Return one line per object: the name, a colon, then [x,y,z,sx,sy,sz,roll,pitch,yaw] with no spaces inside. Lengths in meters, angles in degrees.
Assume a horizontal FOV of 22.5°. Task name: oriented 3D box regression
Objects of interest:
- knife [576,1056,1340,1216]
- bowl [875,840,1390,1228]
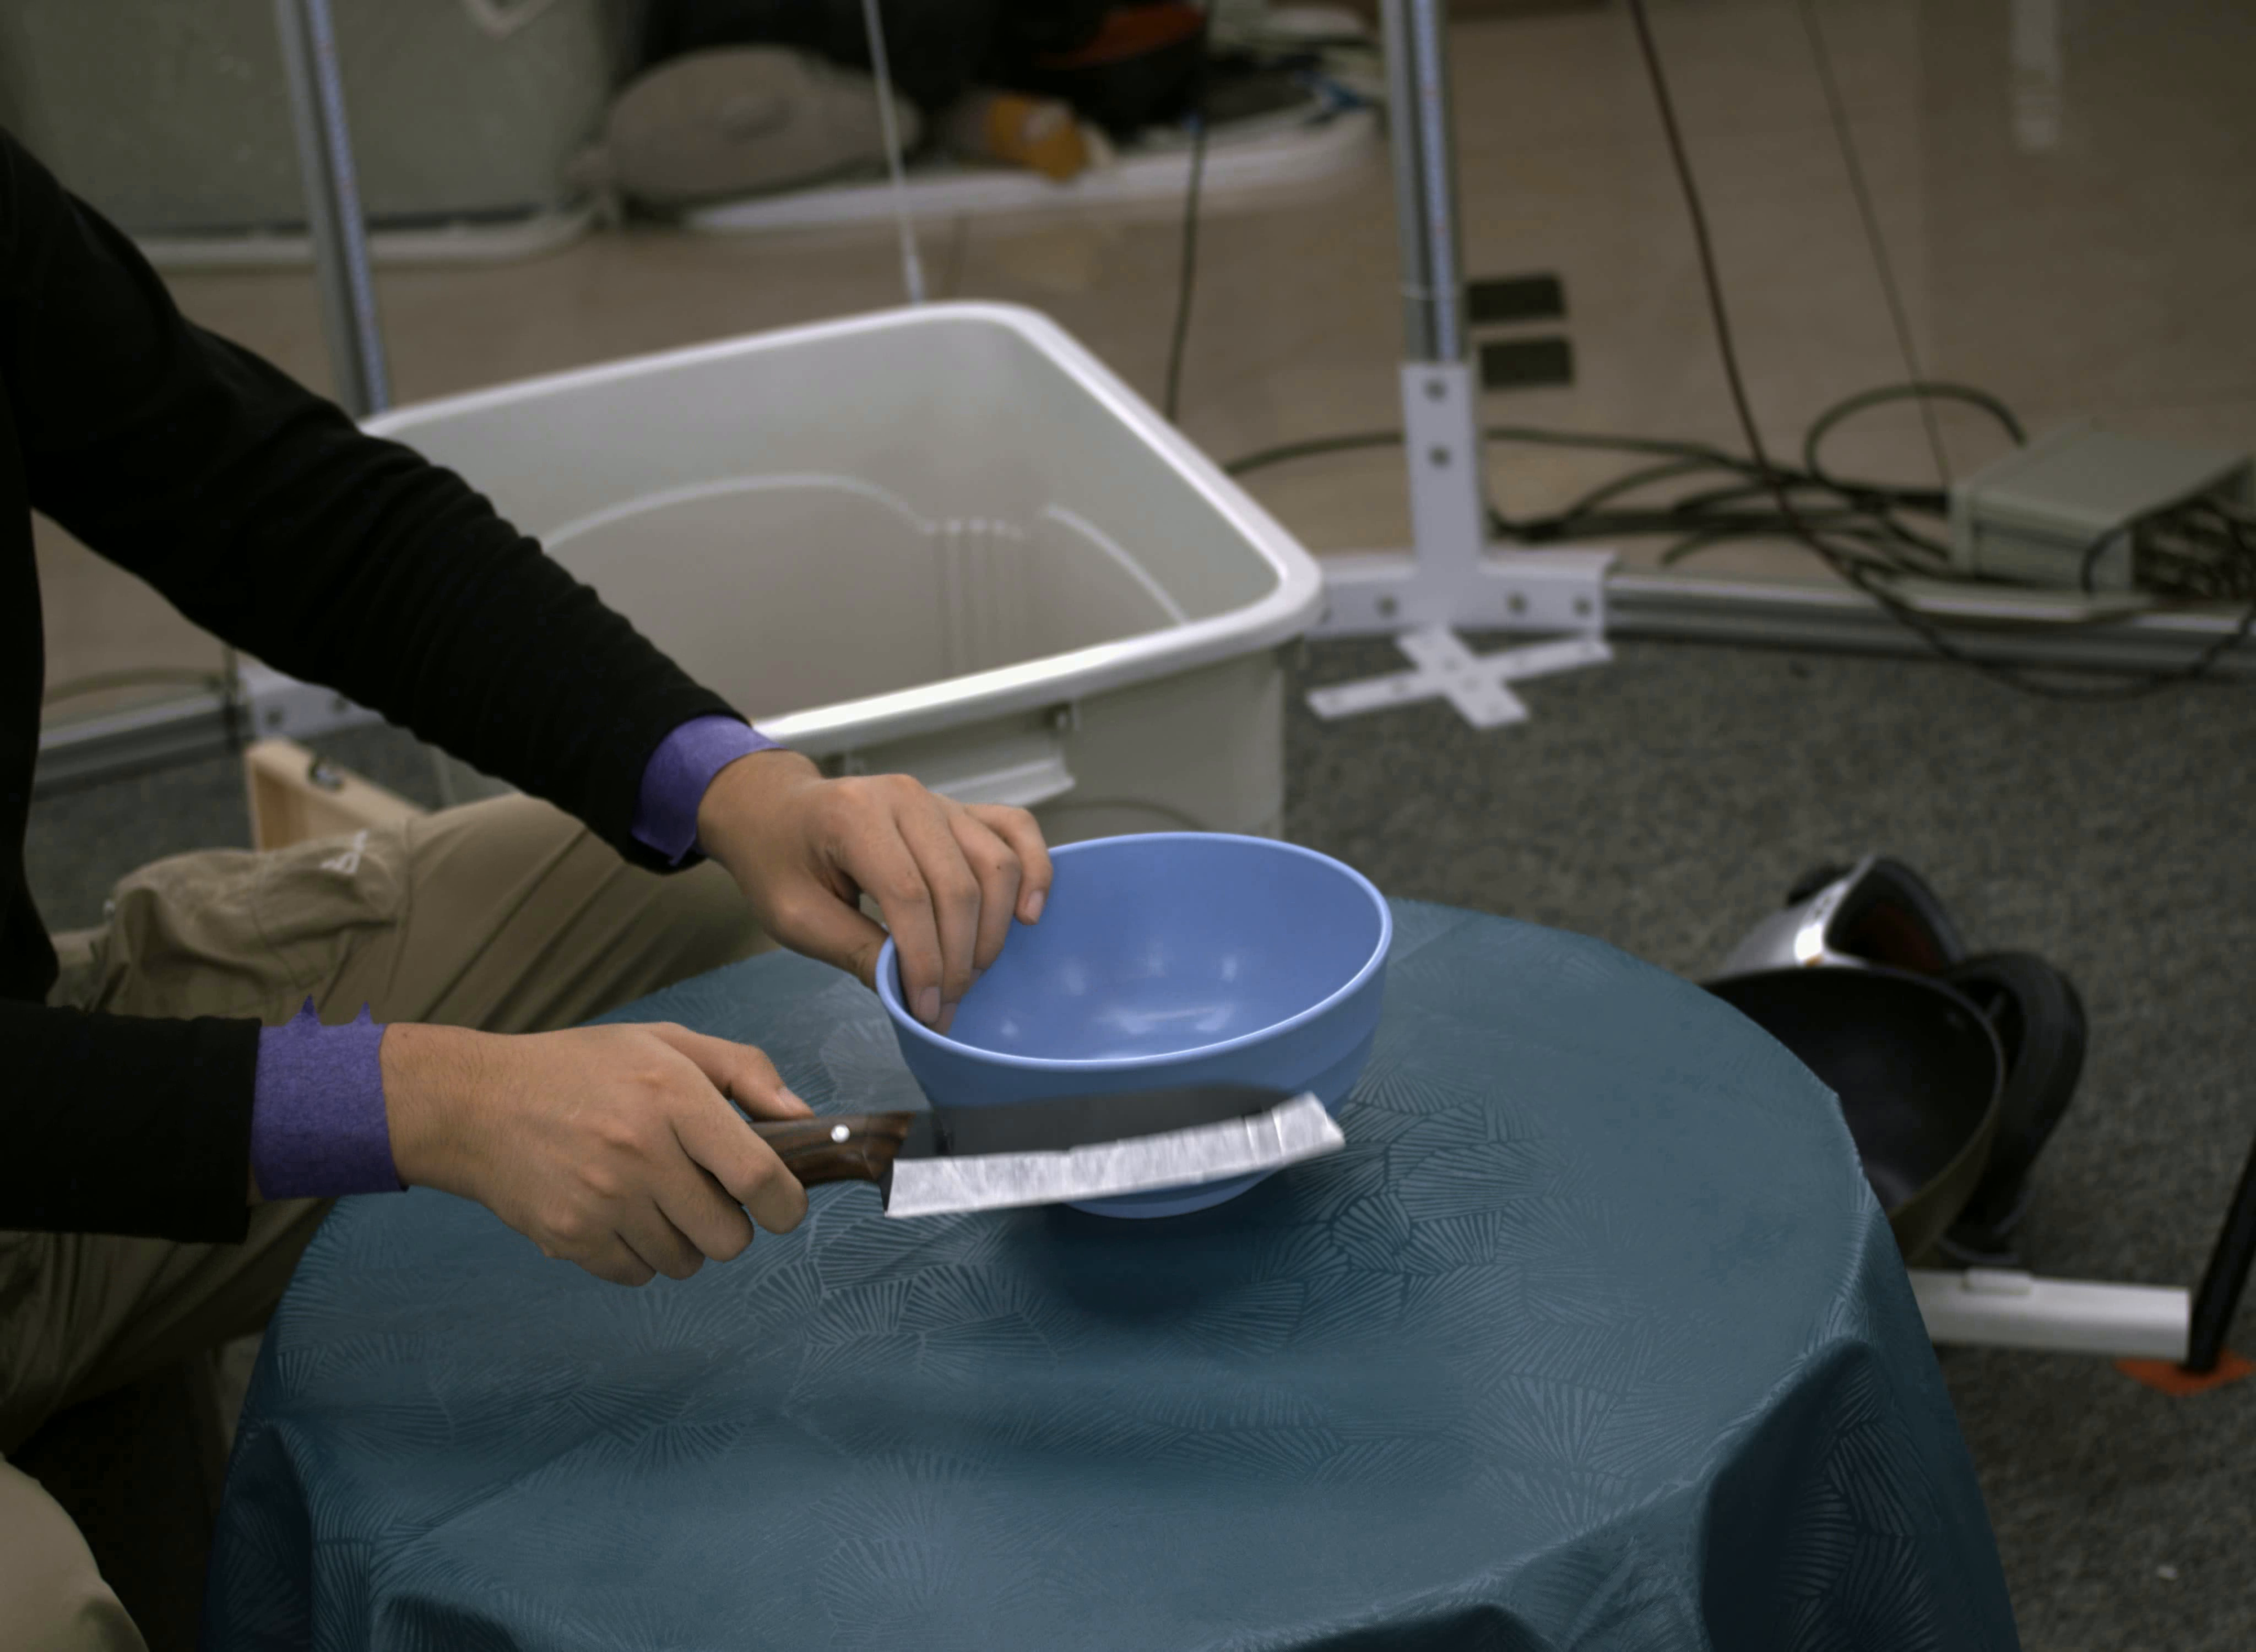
knife: [-0.063,0.112,2.001,0.289,0.020,0.049,-6,56,18]
bowl: [0.008,0.089,2.149,0.196,0.097,0.193,-8,25,4]
